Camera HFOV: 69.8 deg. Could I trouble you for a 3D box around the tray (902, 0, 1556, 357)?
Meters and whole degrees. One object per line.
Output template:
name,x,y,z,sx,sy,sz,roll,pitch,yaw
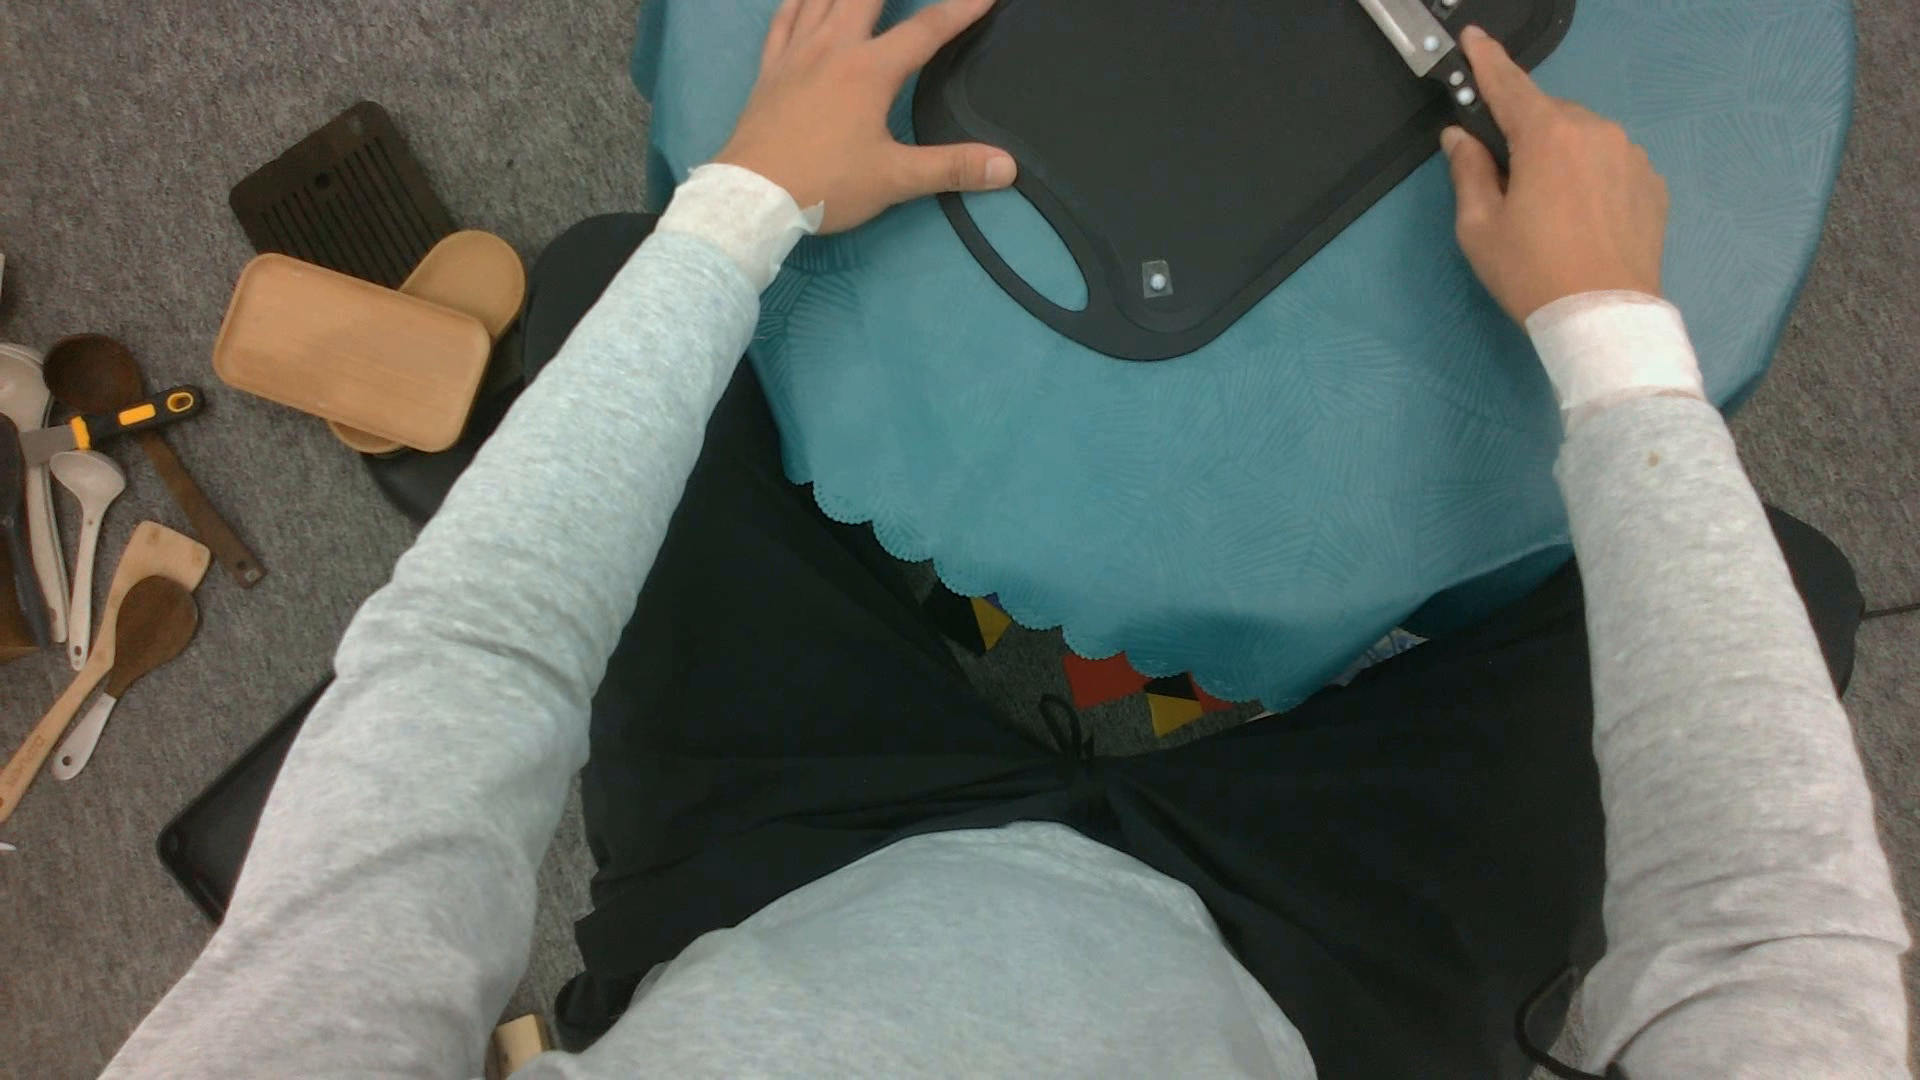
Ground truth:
tray,0.130,-0.245,0.700,0.325,0.010,0.211,-40,84,0

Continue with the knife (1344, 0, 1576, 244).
knife,0.225,-0.241,0.676,0.024,0.016,0.238,-41,75,29
